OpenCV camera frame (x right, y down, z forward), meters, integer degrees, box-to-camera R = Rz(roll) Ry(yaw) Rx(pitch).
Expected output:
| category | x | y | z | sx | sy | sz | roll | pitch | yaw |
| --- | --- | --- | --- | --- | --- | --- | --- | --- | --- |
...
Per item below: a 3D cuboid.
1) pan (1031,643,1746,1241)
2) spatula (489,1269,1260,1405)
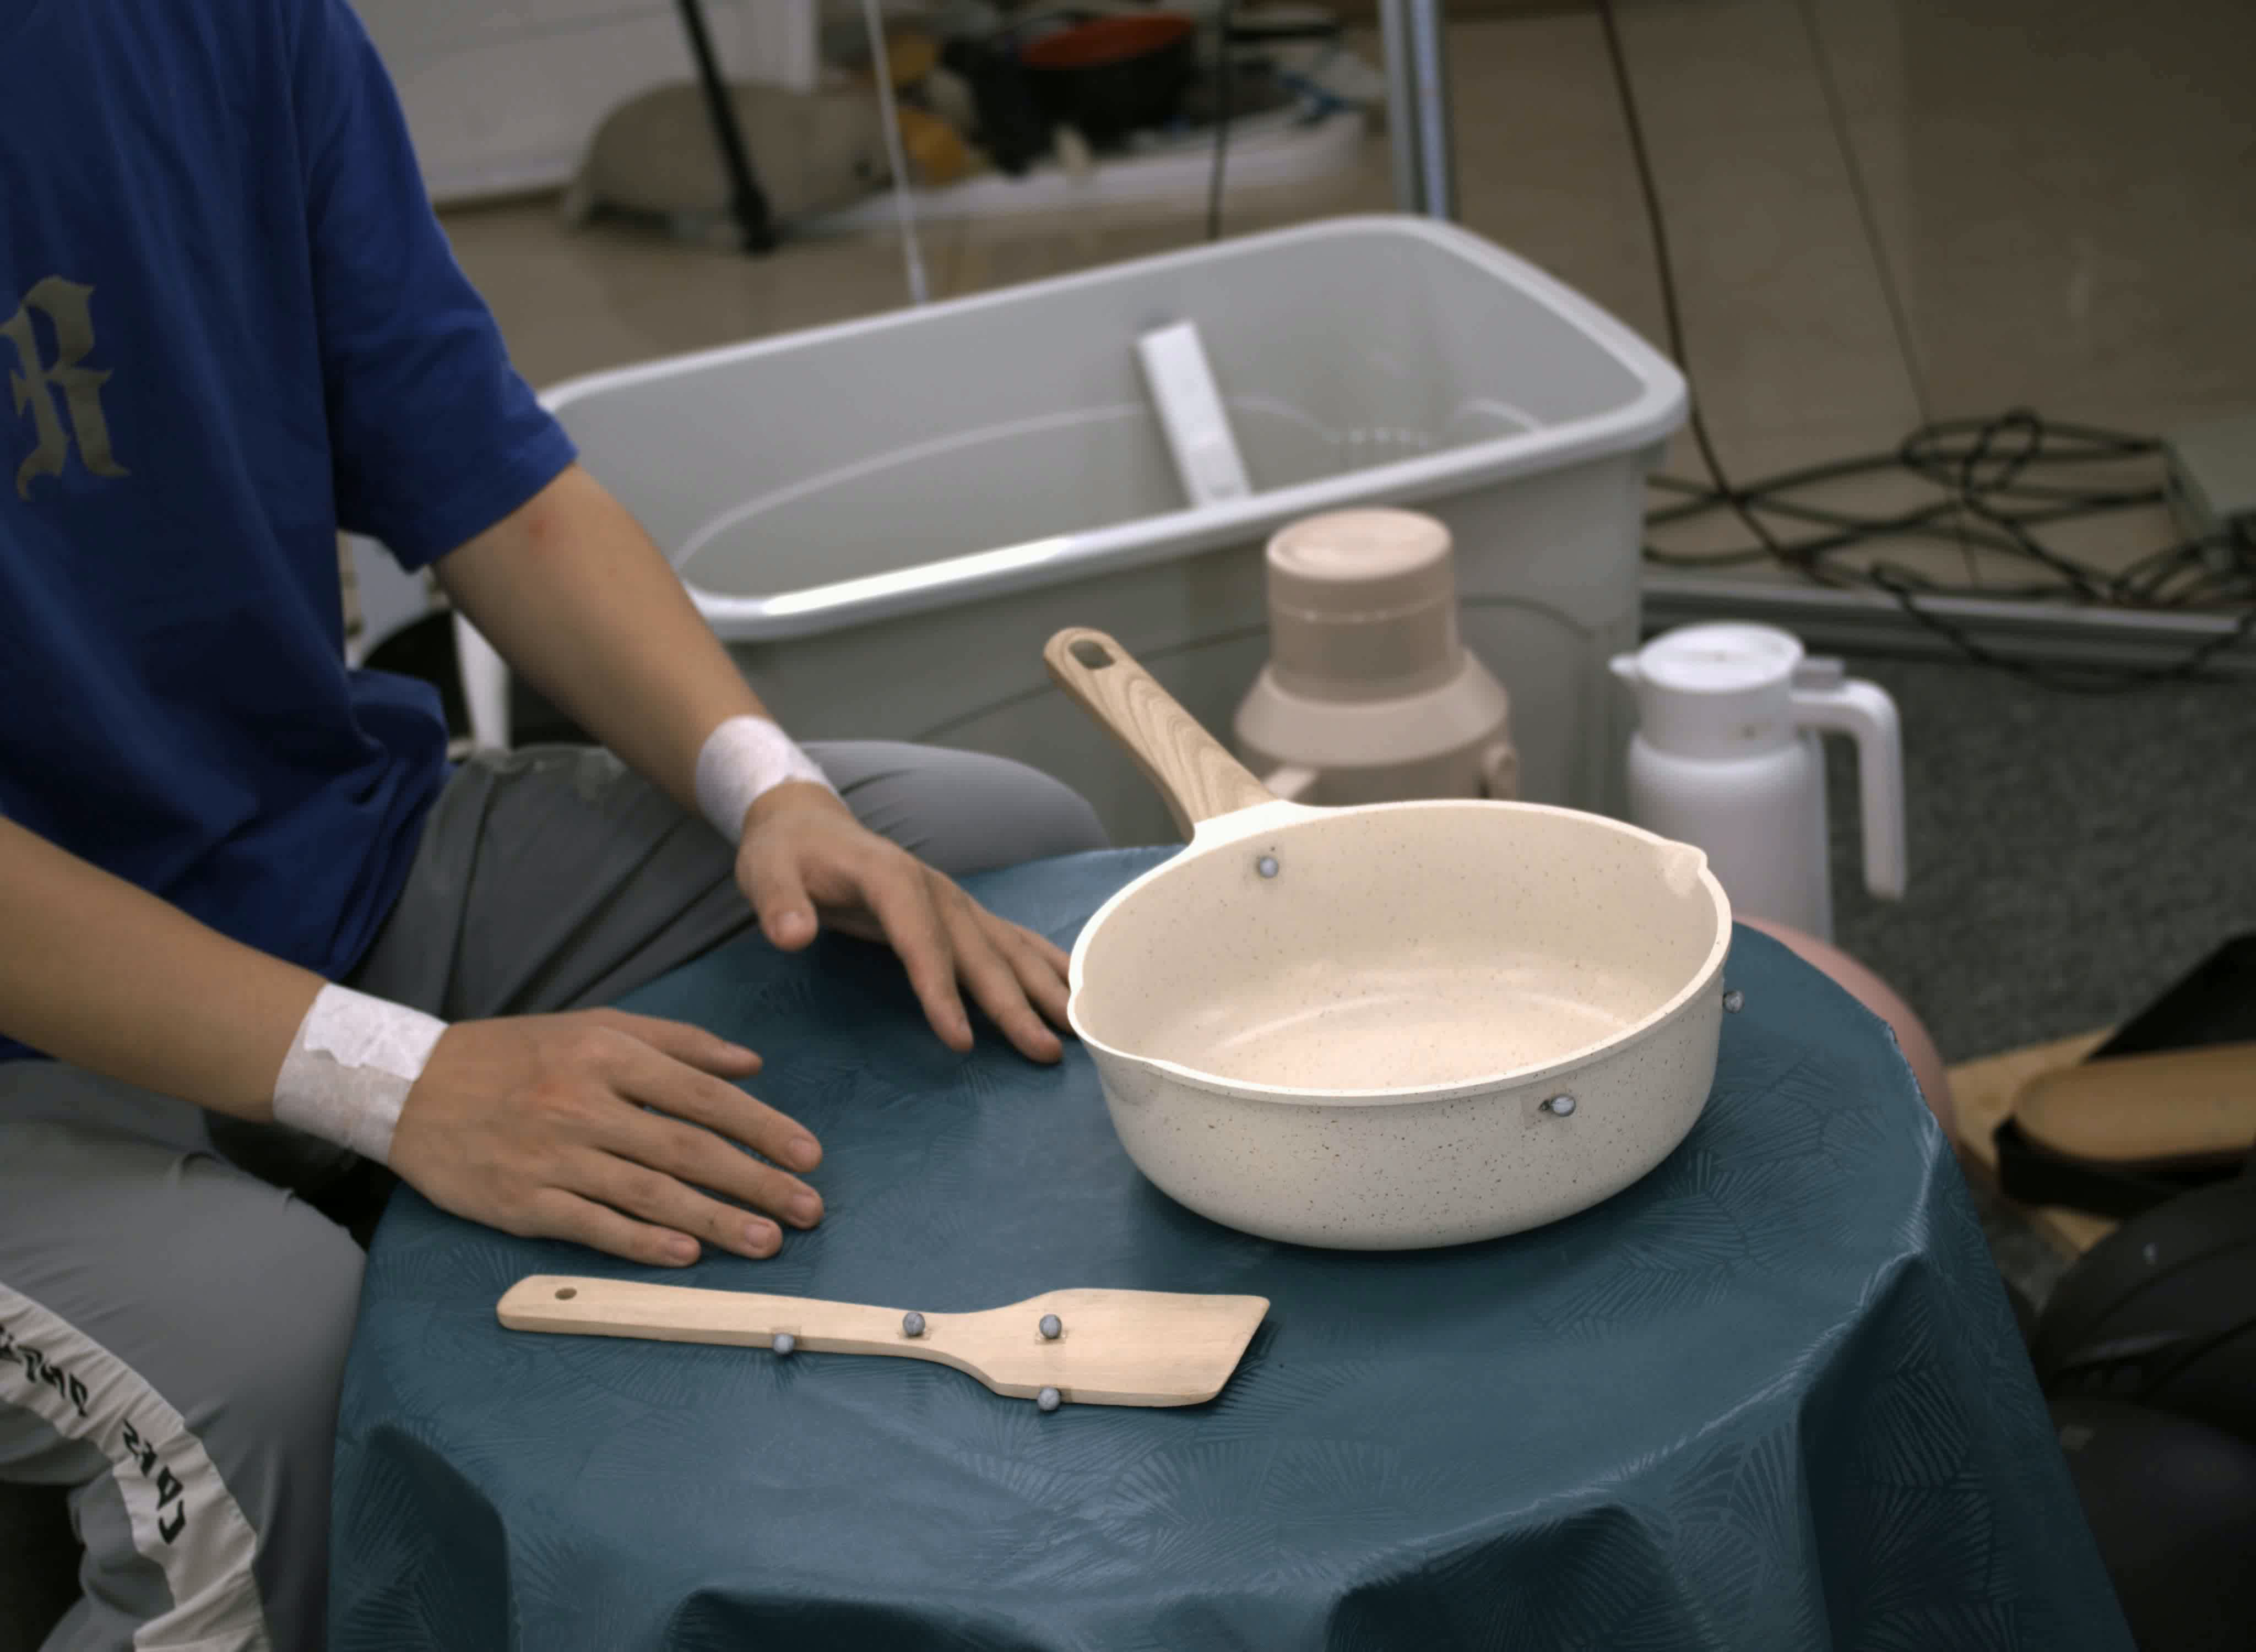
| category | x | y | z | sx | sy | sz | roll | pitch | yaw |
| --- | --- | --- | --- | --- | --- | --- | --- | --- | --- |
| pan | 0.071 | 0.039 | 2.224 | 0.262 | 0.103 | 0.430 | -18 | 27 | -20 |
| spatula | -0.099 | 0.182 | 2.068 | 0.292 | 0.011 | 0.071 | 3 | 28 | 19 |
